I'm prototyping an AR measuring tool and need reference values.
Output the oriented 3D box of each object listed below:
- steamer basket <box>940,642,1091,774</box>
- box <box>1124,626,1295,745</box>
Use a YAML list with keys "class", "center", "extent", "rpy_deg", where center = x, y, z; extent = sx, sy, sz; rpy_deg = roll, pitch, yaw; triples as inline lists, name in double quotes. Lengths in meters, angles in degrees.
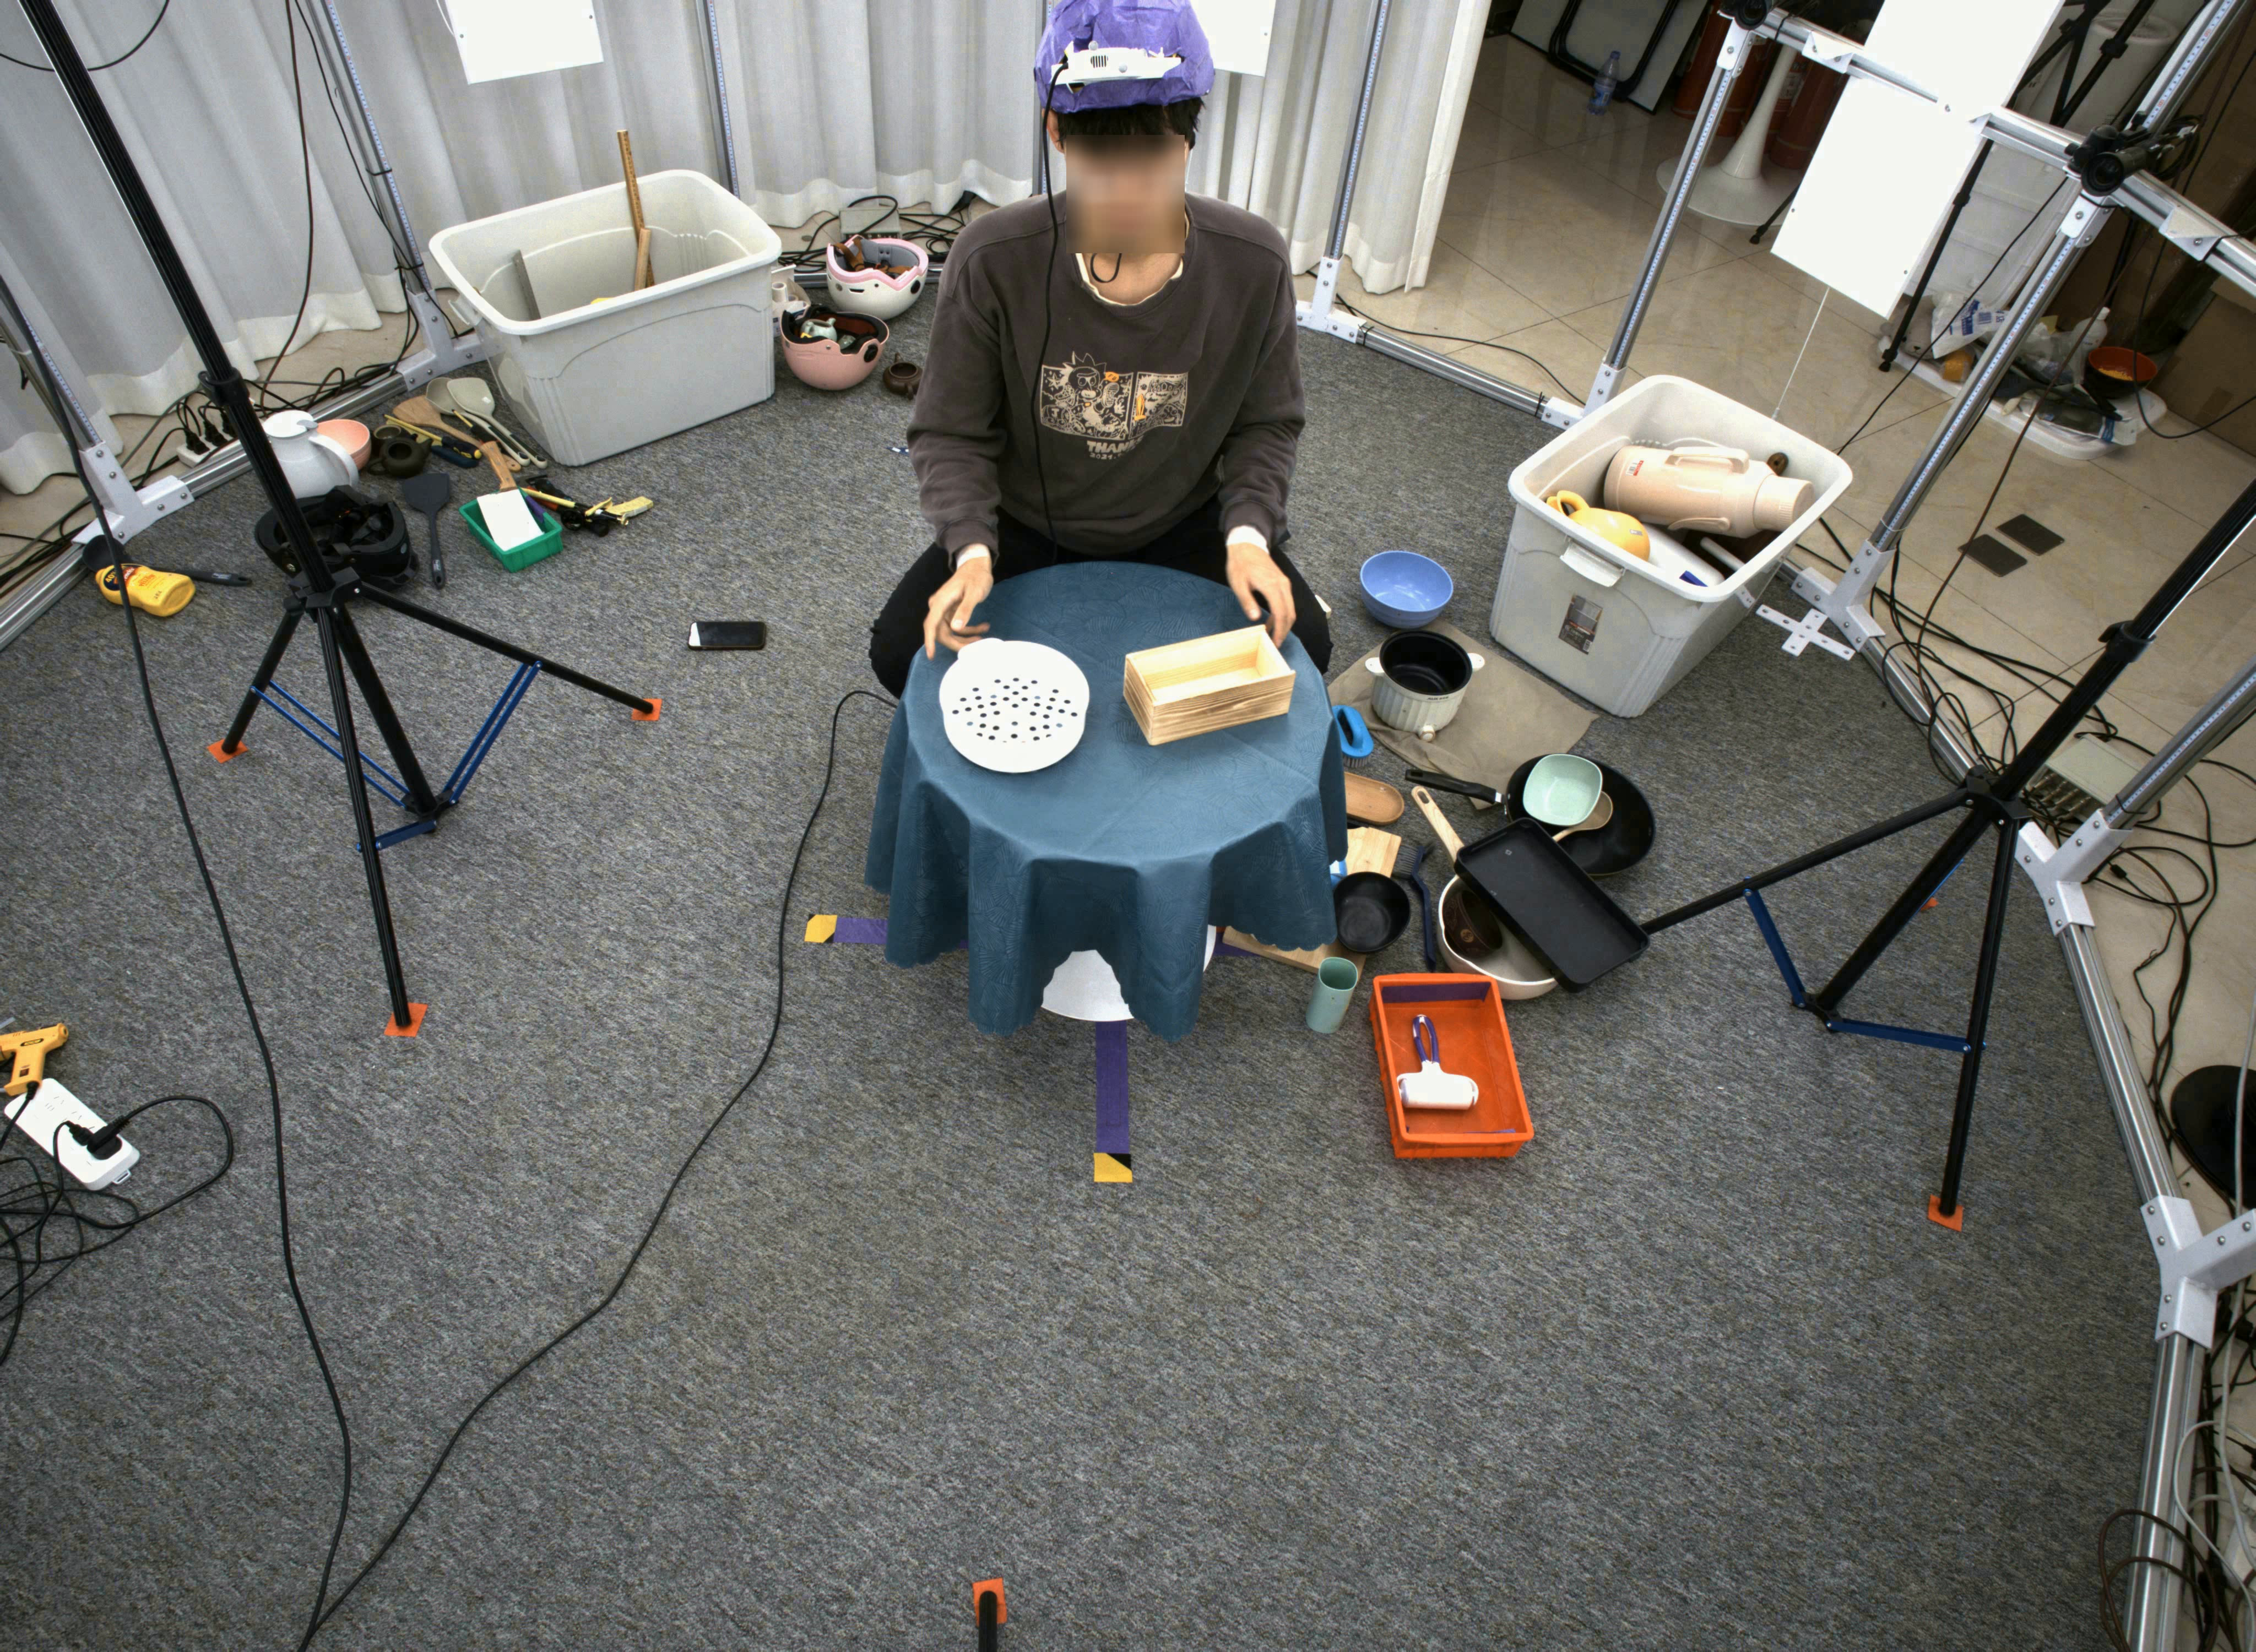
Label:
- class: "steamer basket"
  center: [-0.152, -0.158, 1.750]
  extent: [0.202, 0.067, 0.235]
  rpy_deg: [-22, 53, -22]
- class: "box"
  center: [0.111, -0.198, 1.792]
  extent: [0.211, 0.078, 0.110]
  rpy_deg: [-14, 51, -16]
